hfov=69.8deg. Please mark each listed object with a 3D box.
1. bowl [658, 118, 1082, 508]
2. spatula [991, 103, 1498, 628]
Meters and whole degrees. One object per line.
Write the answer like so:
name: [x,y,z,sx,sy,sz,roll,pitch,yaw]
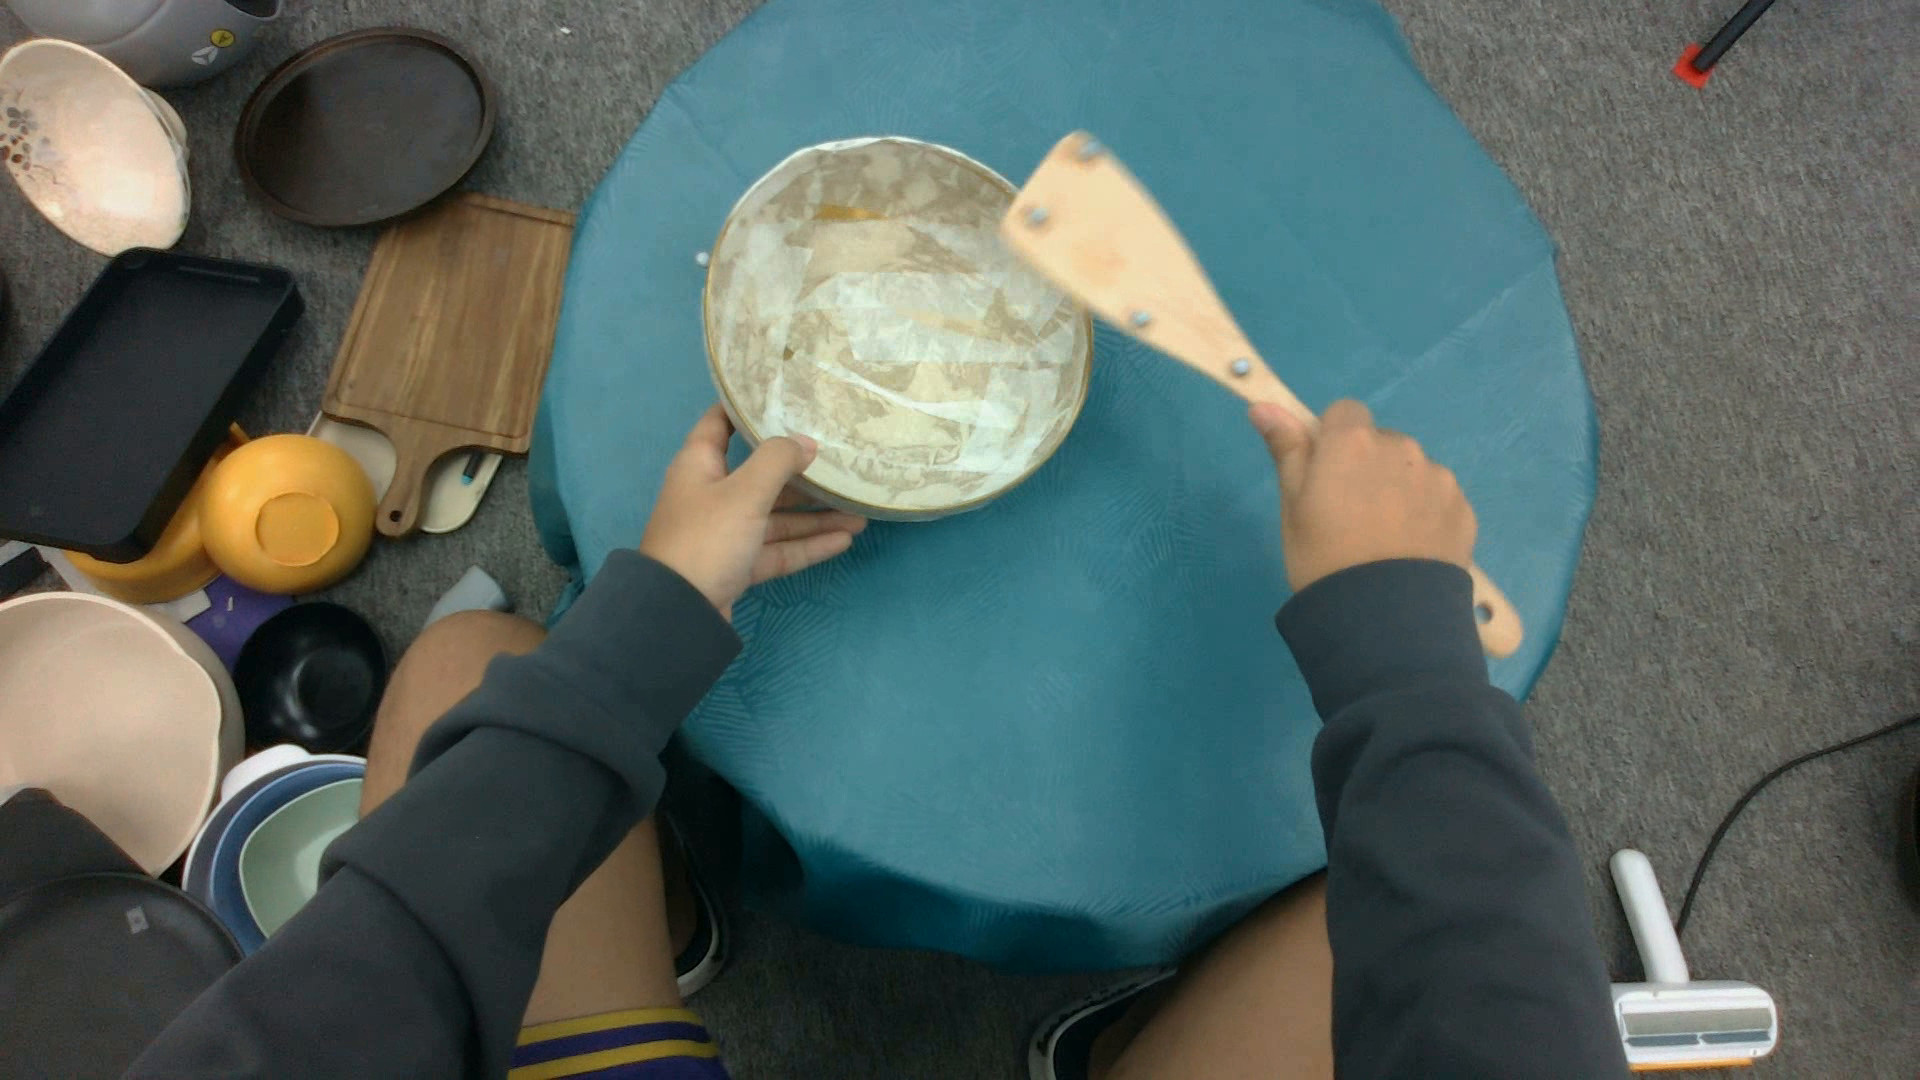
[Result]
bowl: [-0.049,-0.105,0.720,0.215,0.094,0.215,5,72,-15]
spatula: [0.142,-0.079,0.670,0.327,0.016,0.080,46,67,5]
